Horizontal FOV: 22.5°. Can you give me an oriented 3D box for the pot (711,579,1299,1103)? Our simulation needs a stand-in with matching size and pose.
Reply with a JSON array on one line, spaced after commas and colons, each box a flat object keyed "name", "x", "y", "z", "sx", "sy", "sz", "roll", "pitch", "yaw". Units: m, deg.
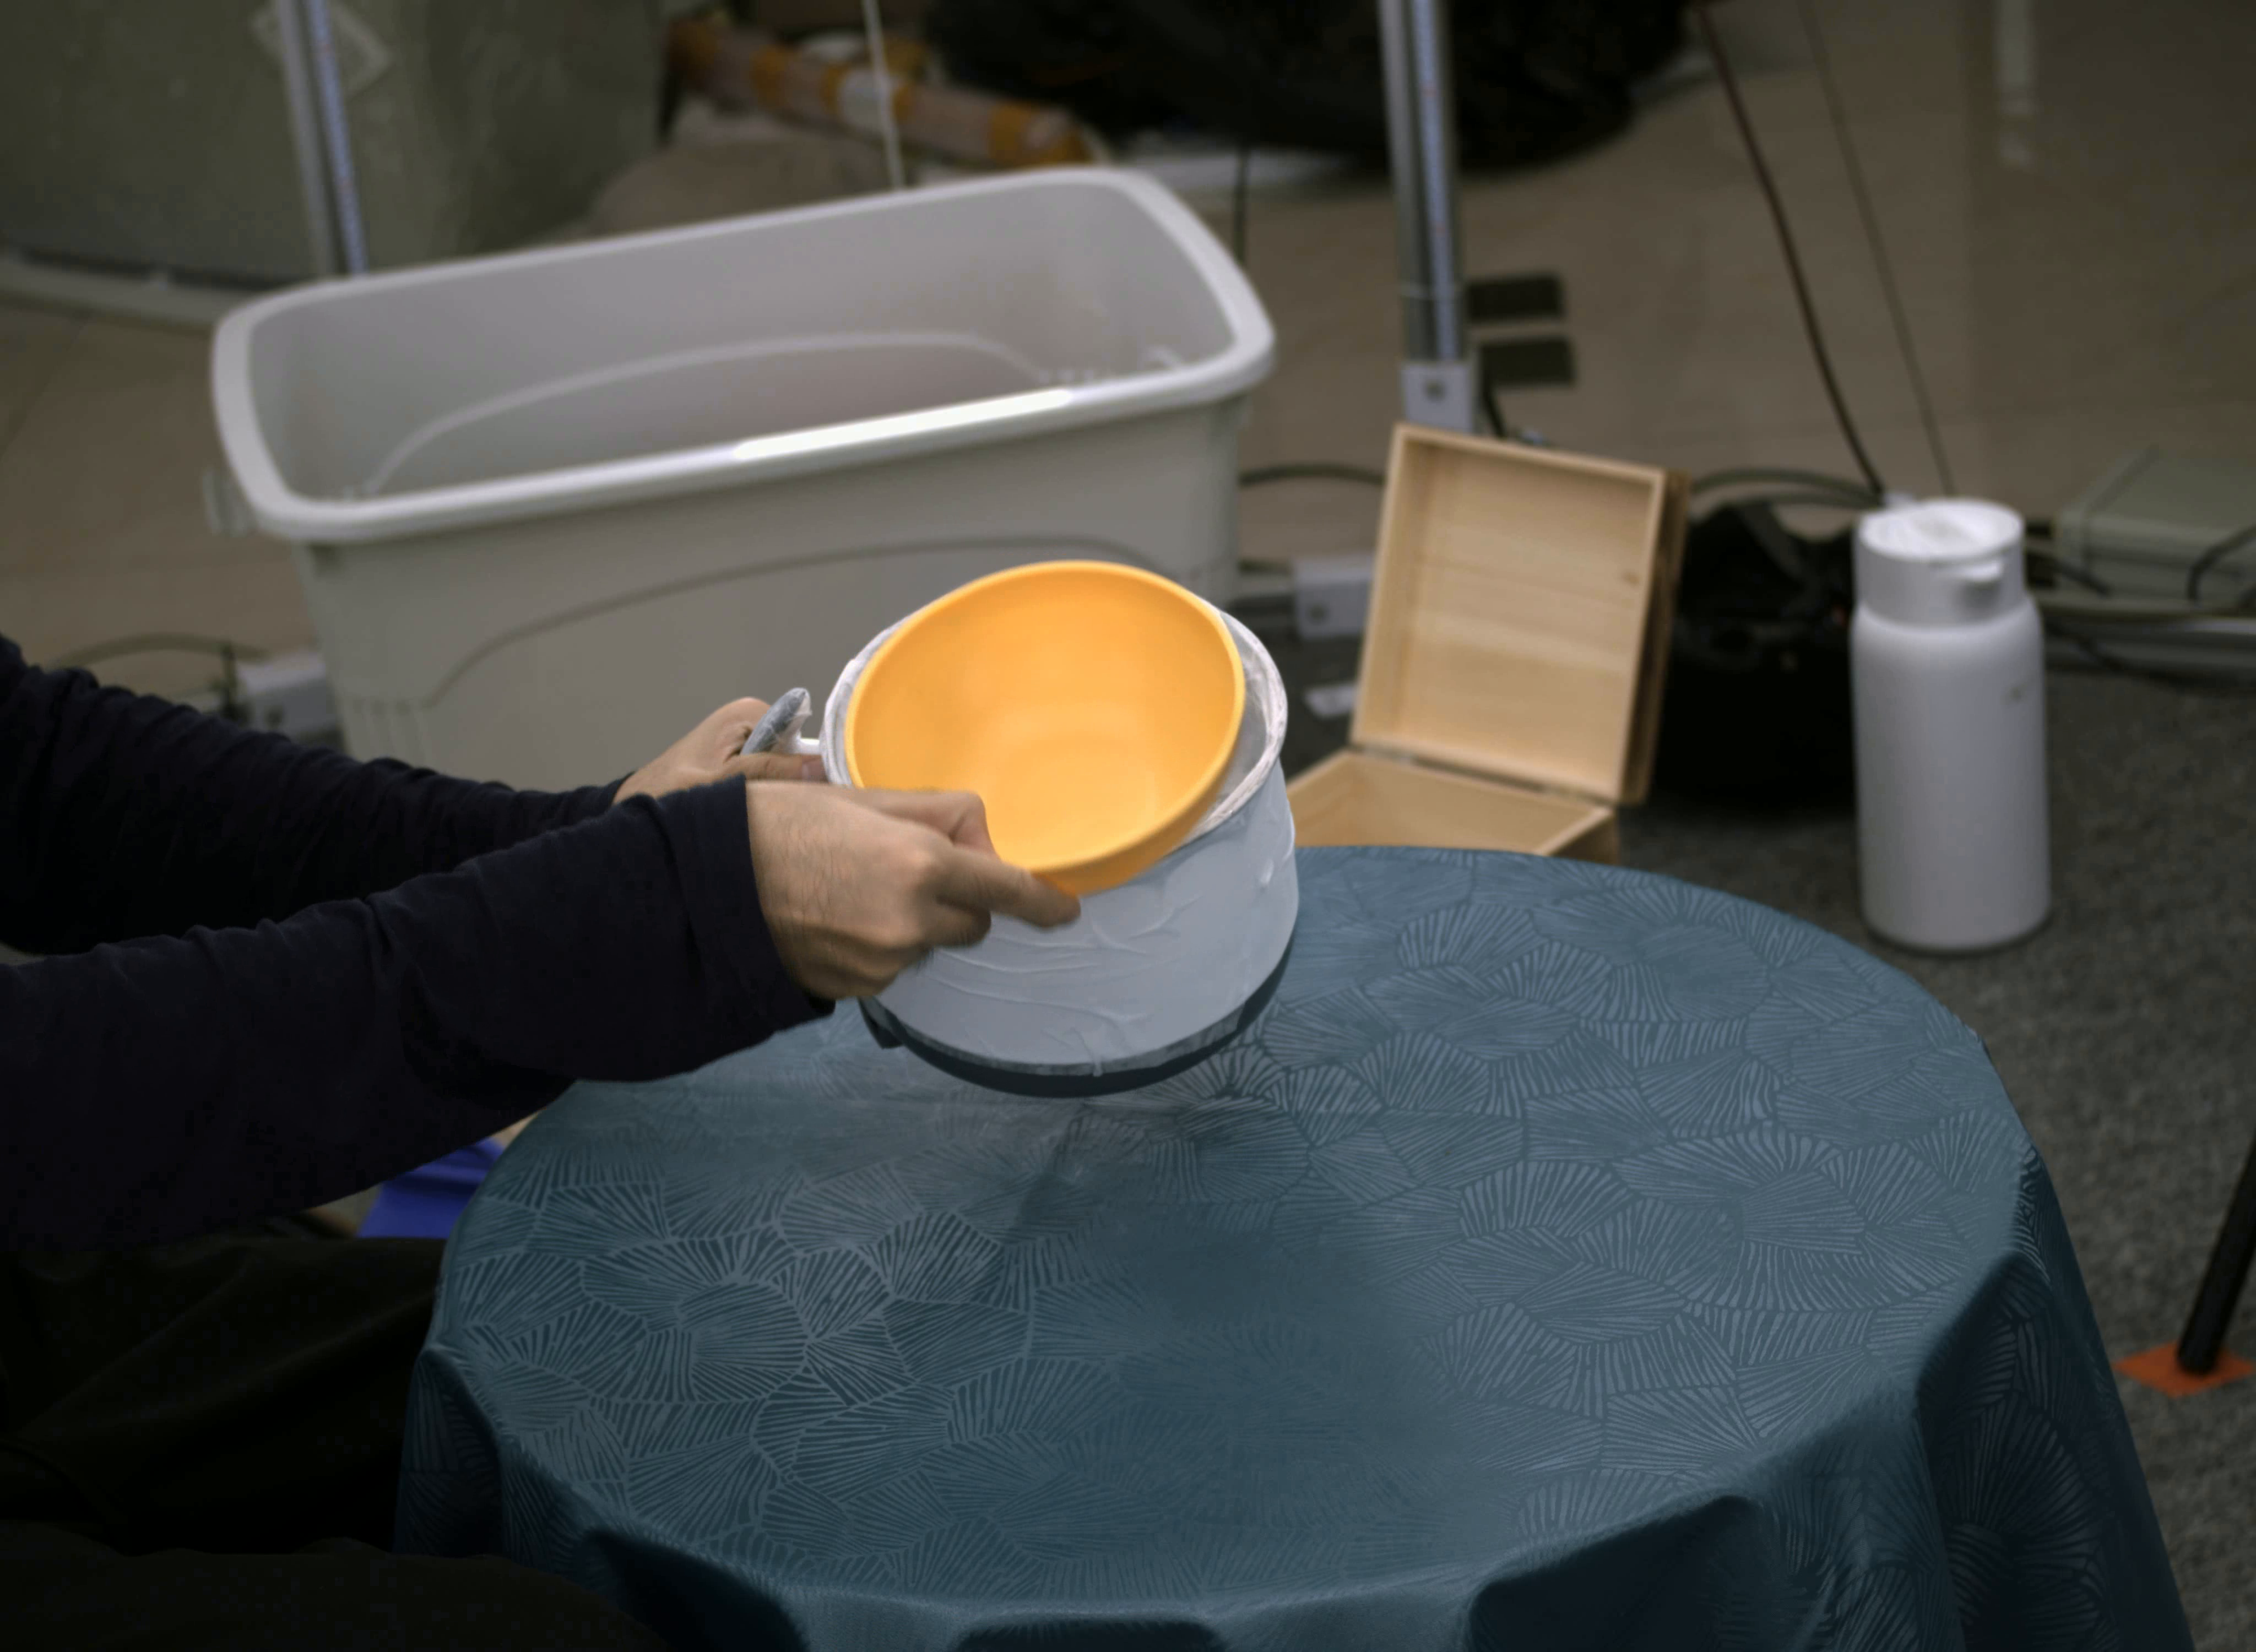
[{"name": "pot", "x": -0.051, "y": 0.007, "z": 2.183, "sx": 0.233, "sy": 0.139, "sz": 0.175, "roll": 2, "pitch": 44, "yaw": 11}]

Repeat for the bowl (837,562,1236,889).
[{"name": "bowl", "x": -0.028, "y": -0.025, "z": 2.020, "sx": 0.145, "sy": 0.061, "sz": 0.142, "roll": -7, "pitch": 47, "yaw": 7}]
